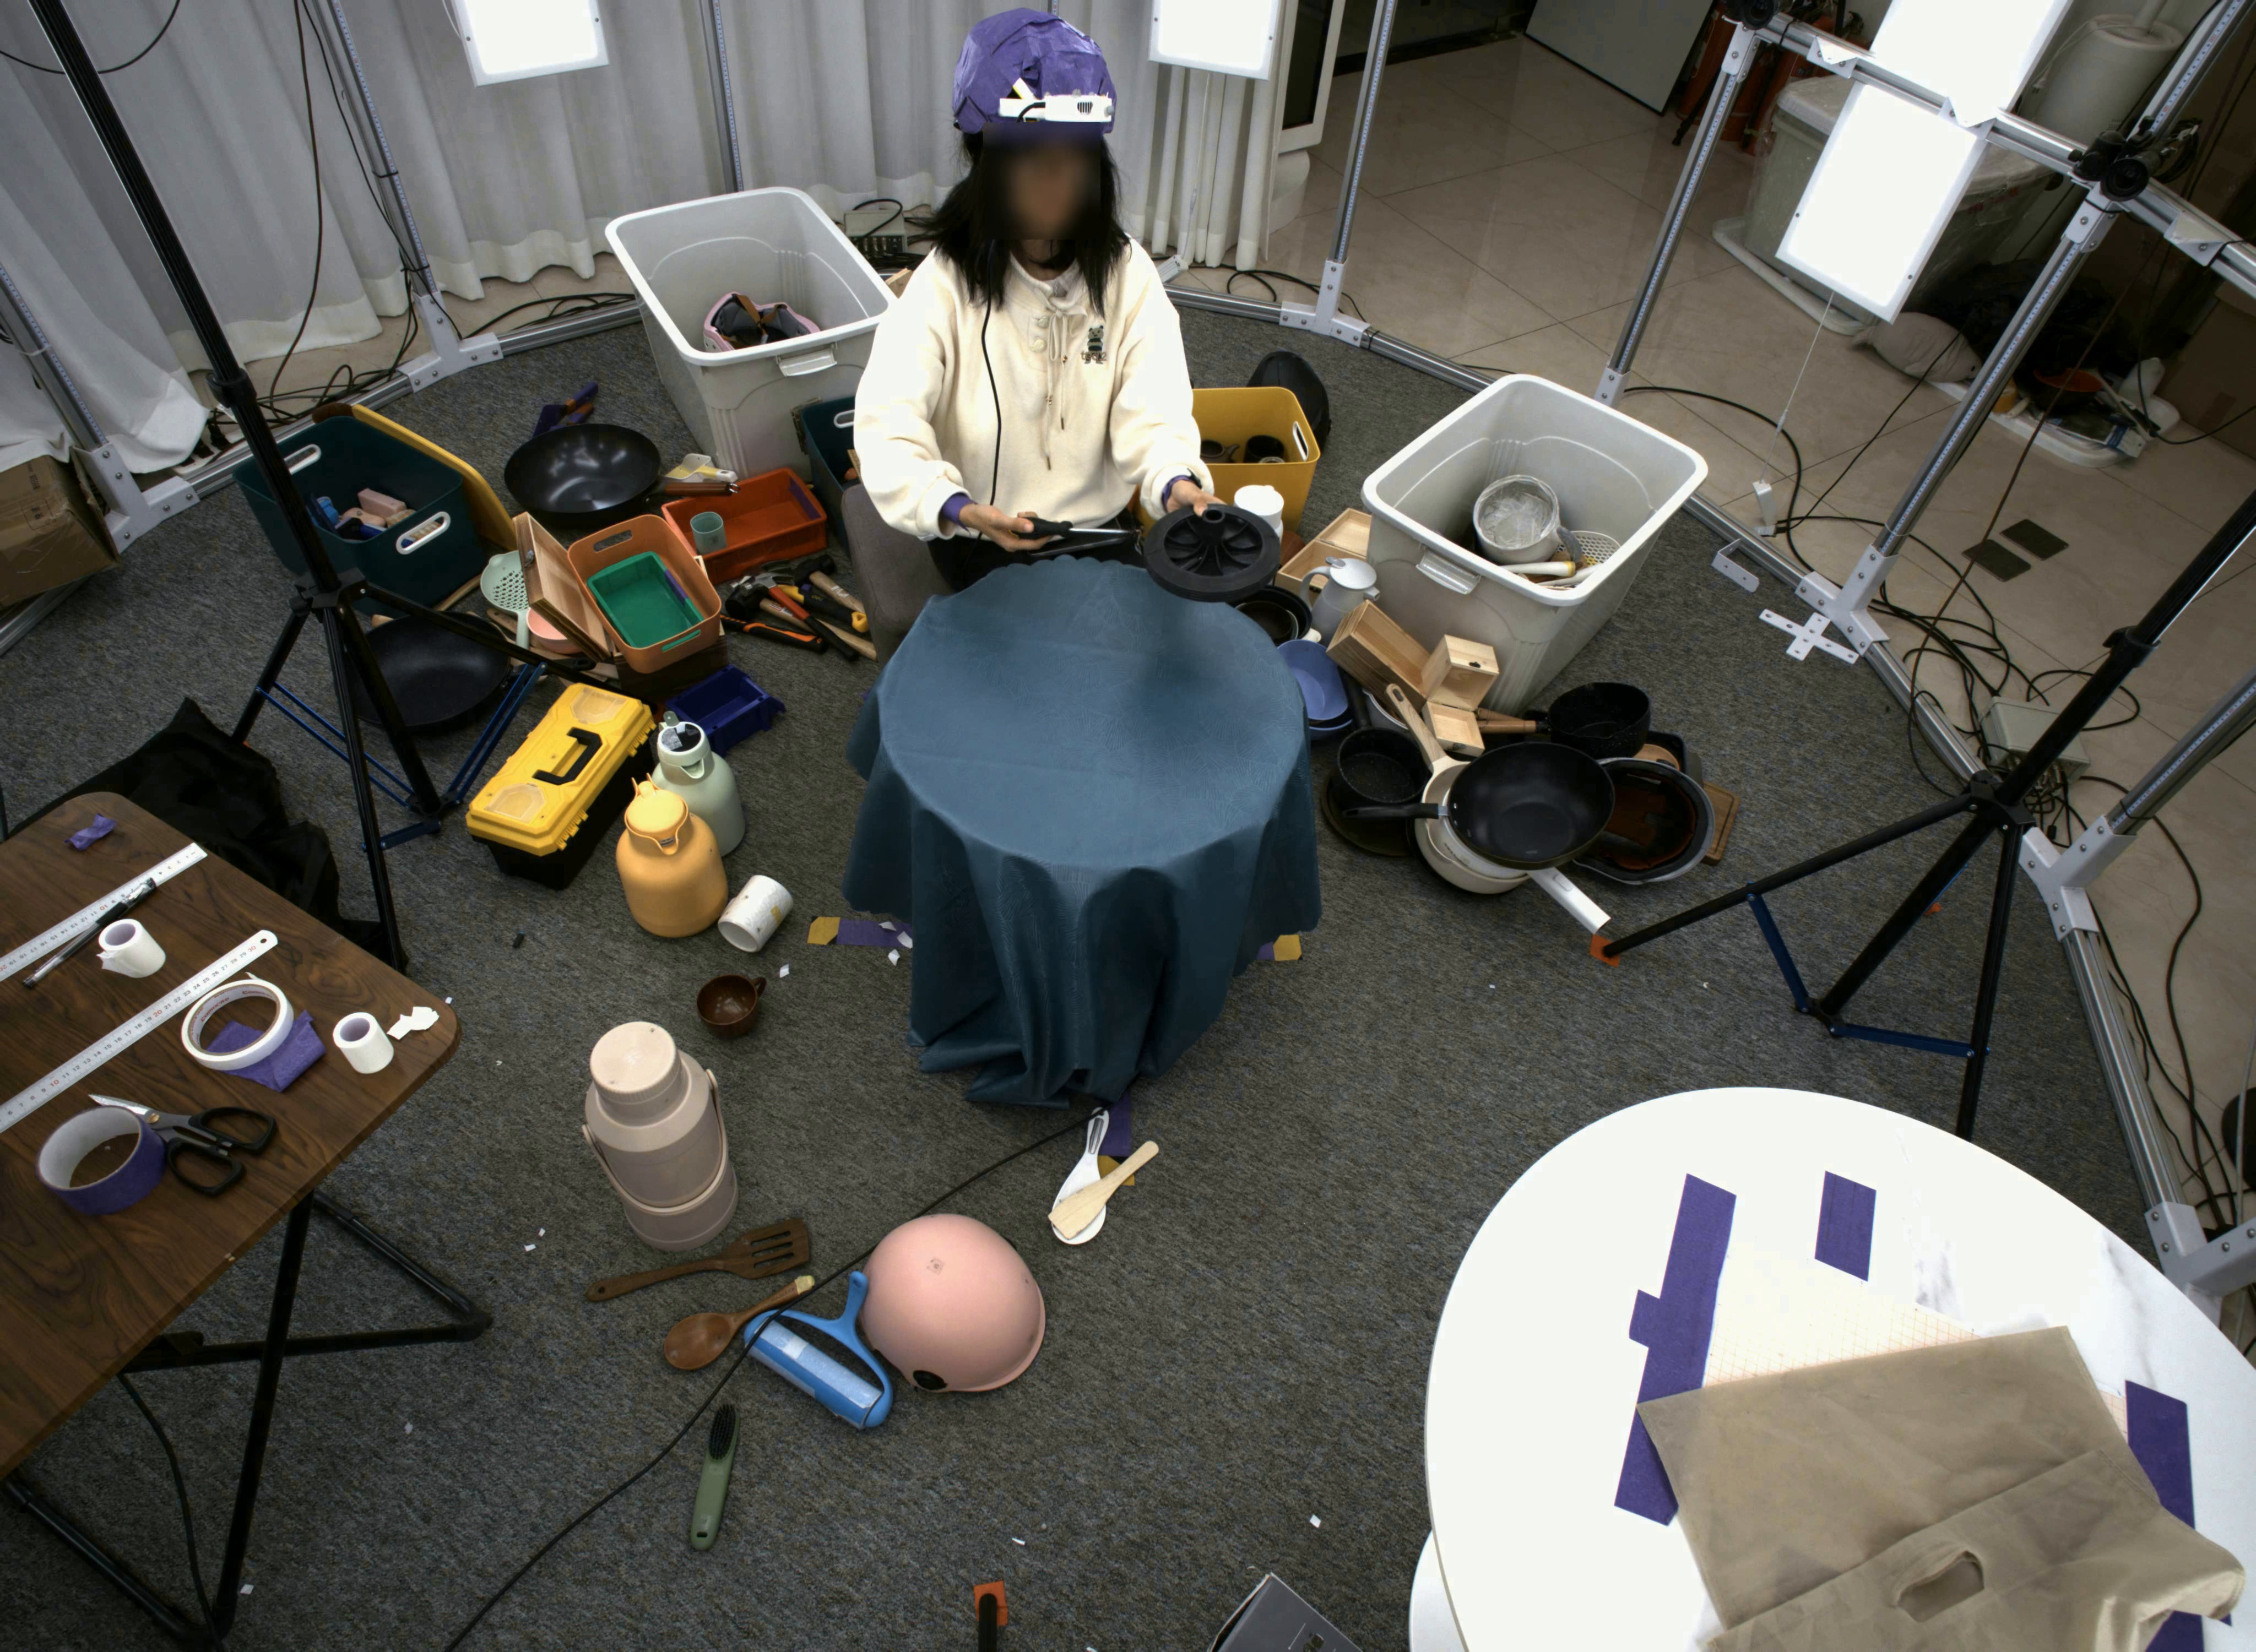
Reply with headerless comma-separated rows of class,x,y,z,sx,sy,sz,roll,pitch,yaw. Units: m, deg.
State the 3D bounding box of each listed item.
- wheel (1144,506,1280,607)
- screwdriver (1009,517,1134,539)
wheel,0.114,-0.385,1.749,0.188,0.077,0.193,19,54,17
screwdriver,-0.078,-0.410,1.791,0.199,0.031,0.032,9,48,24
